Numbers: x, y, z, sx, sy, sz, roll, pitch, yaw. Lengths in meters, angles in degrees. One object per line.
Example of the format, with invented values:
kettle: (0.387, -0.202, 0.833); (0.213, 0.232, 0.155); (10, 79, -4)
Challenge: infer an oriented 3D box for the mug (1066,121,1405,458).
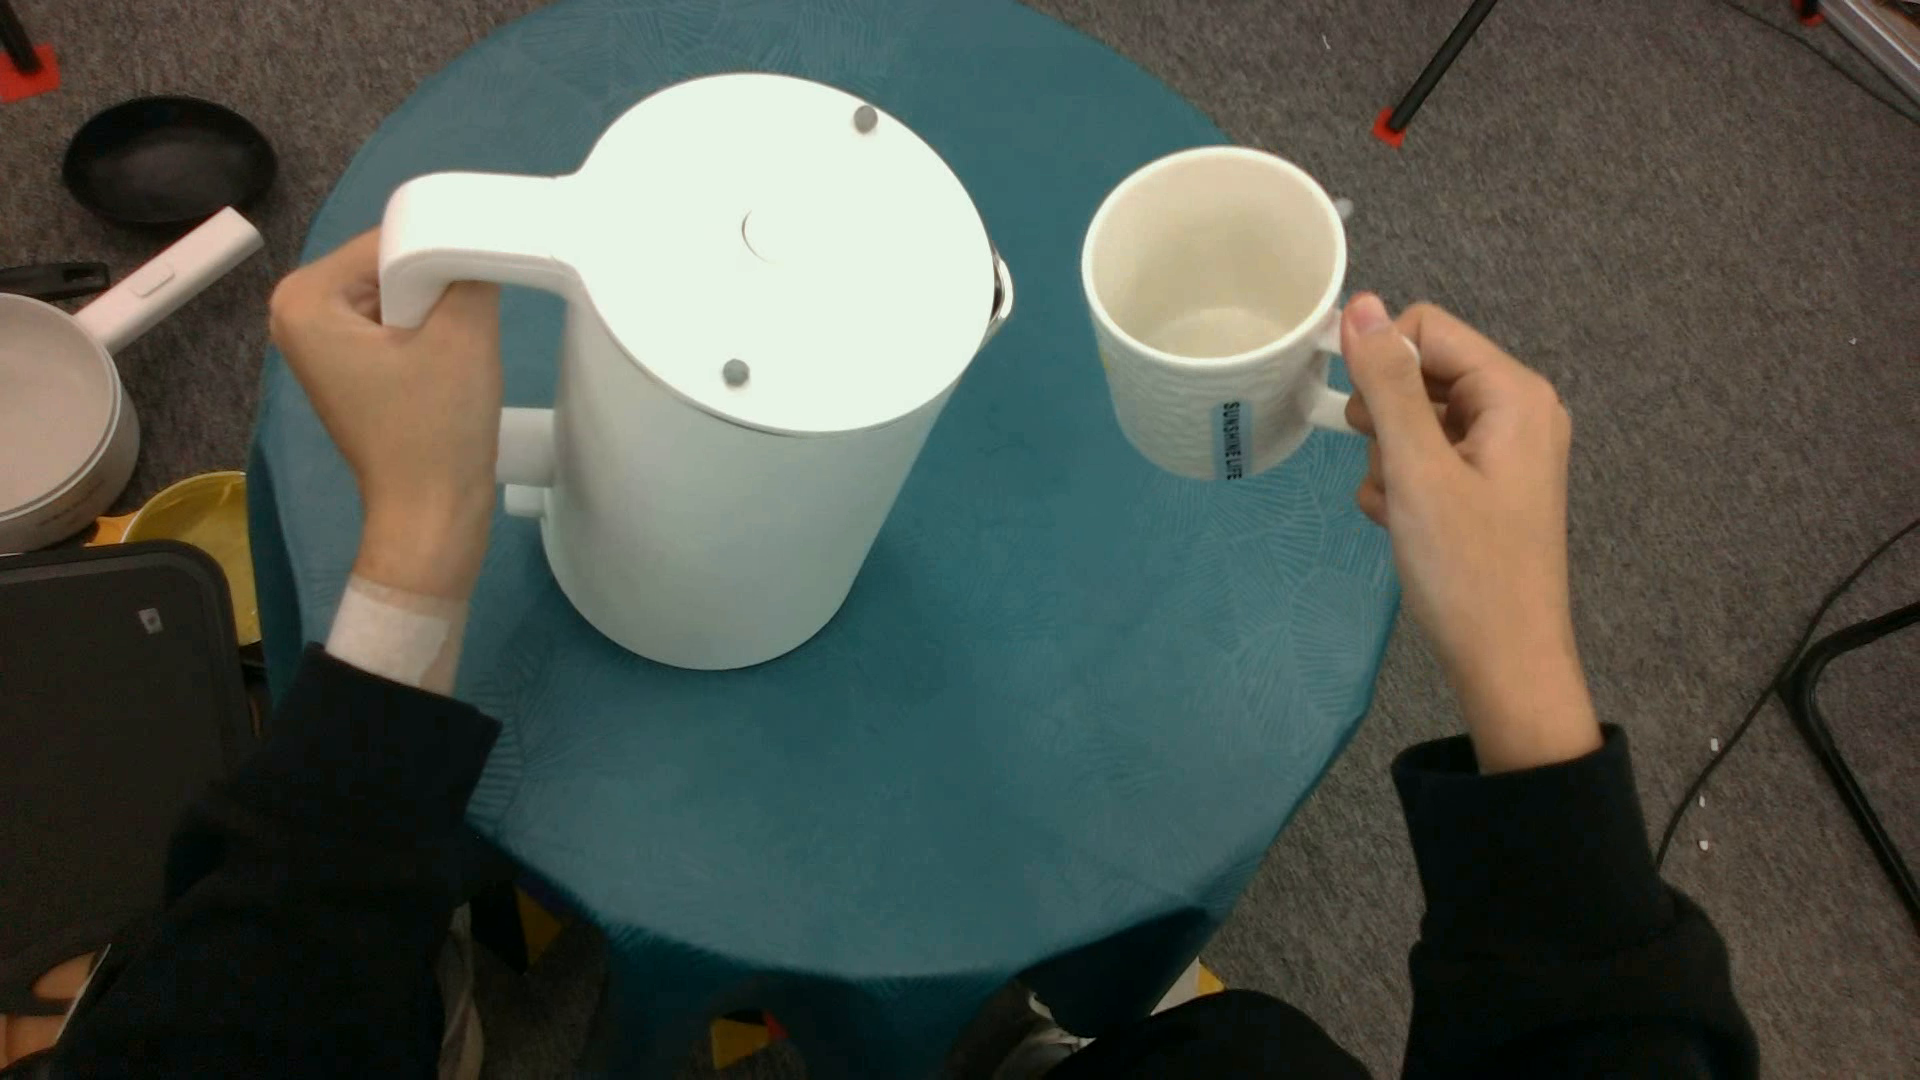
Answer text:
mug: (0.101, -0.080, 0.497); (0.118, 0.102, 0.085); (25, 76, 19)

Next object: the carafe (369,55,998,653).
carafe: (-0.120, -0.065, 0.556); (0.213, 0.239, 0.152); (3, 65, -19)
